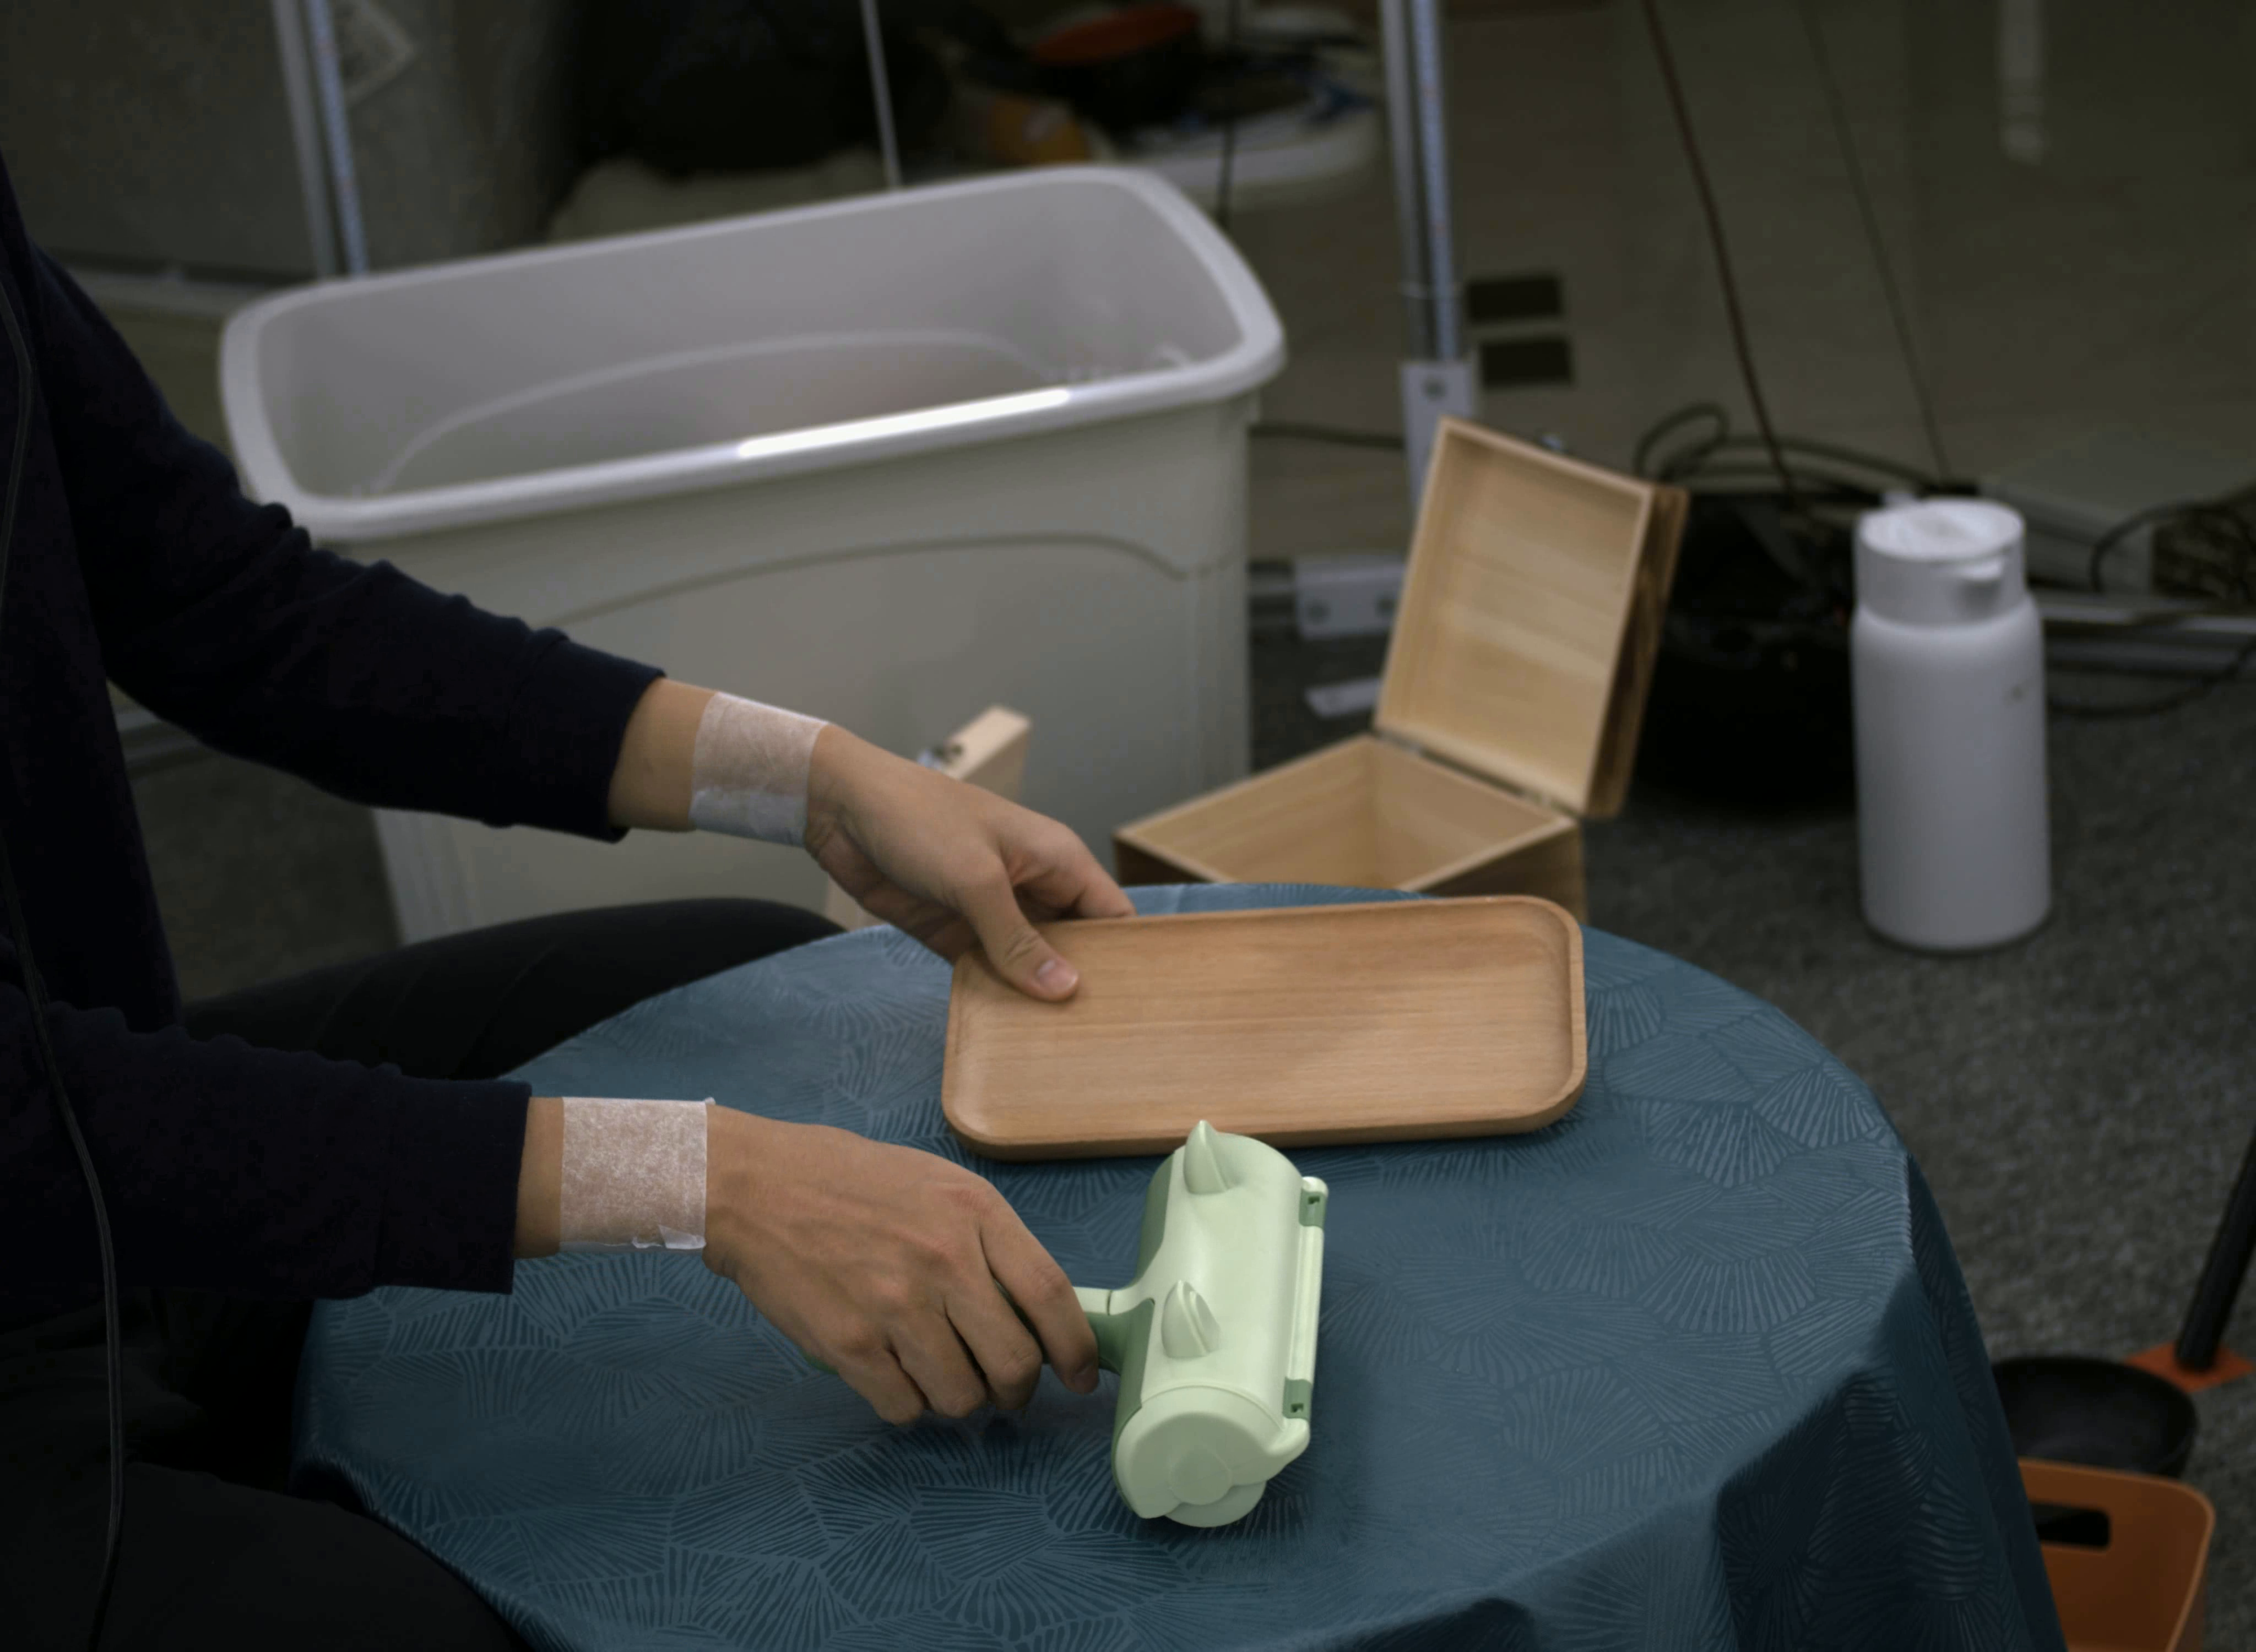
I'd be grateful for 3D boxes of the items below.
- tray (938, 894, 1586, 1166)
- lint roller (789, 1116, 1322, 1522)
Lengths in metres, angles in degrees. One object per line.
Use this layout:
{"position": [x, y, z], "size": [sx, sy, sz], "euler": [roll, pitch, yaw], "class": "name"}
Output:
{"position": [0.052, 0.080, 2.204], "size": [0.250, 0.023, 0.128], "euler": [-4, 39, 6], "class": "tray"}
{"position": [-0.025, 0.159, 1.987], "size": [0.183, 0.083, 0.196], "euler": [8, 25, 0], "class": "lint roller"}
